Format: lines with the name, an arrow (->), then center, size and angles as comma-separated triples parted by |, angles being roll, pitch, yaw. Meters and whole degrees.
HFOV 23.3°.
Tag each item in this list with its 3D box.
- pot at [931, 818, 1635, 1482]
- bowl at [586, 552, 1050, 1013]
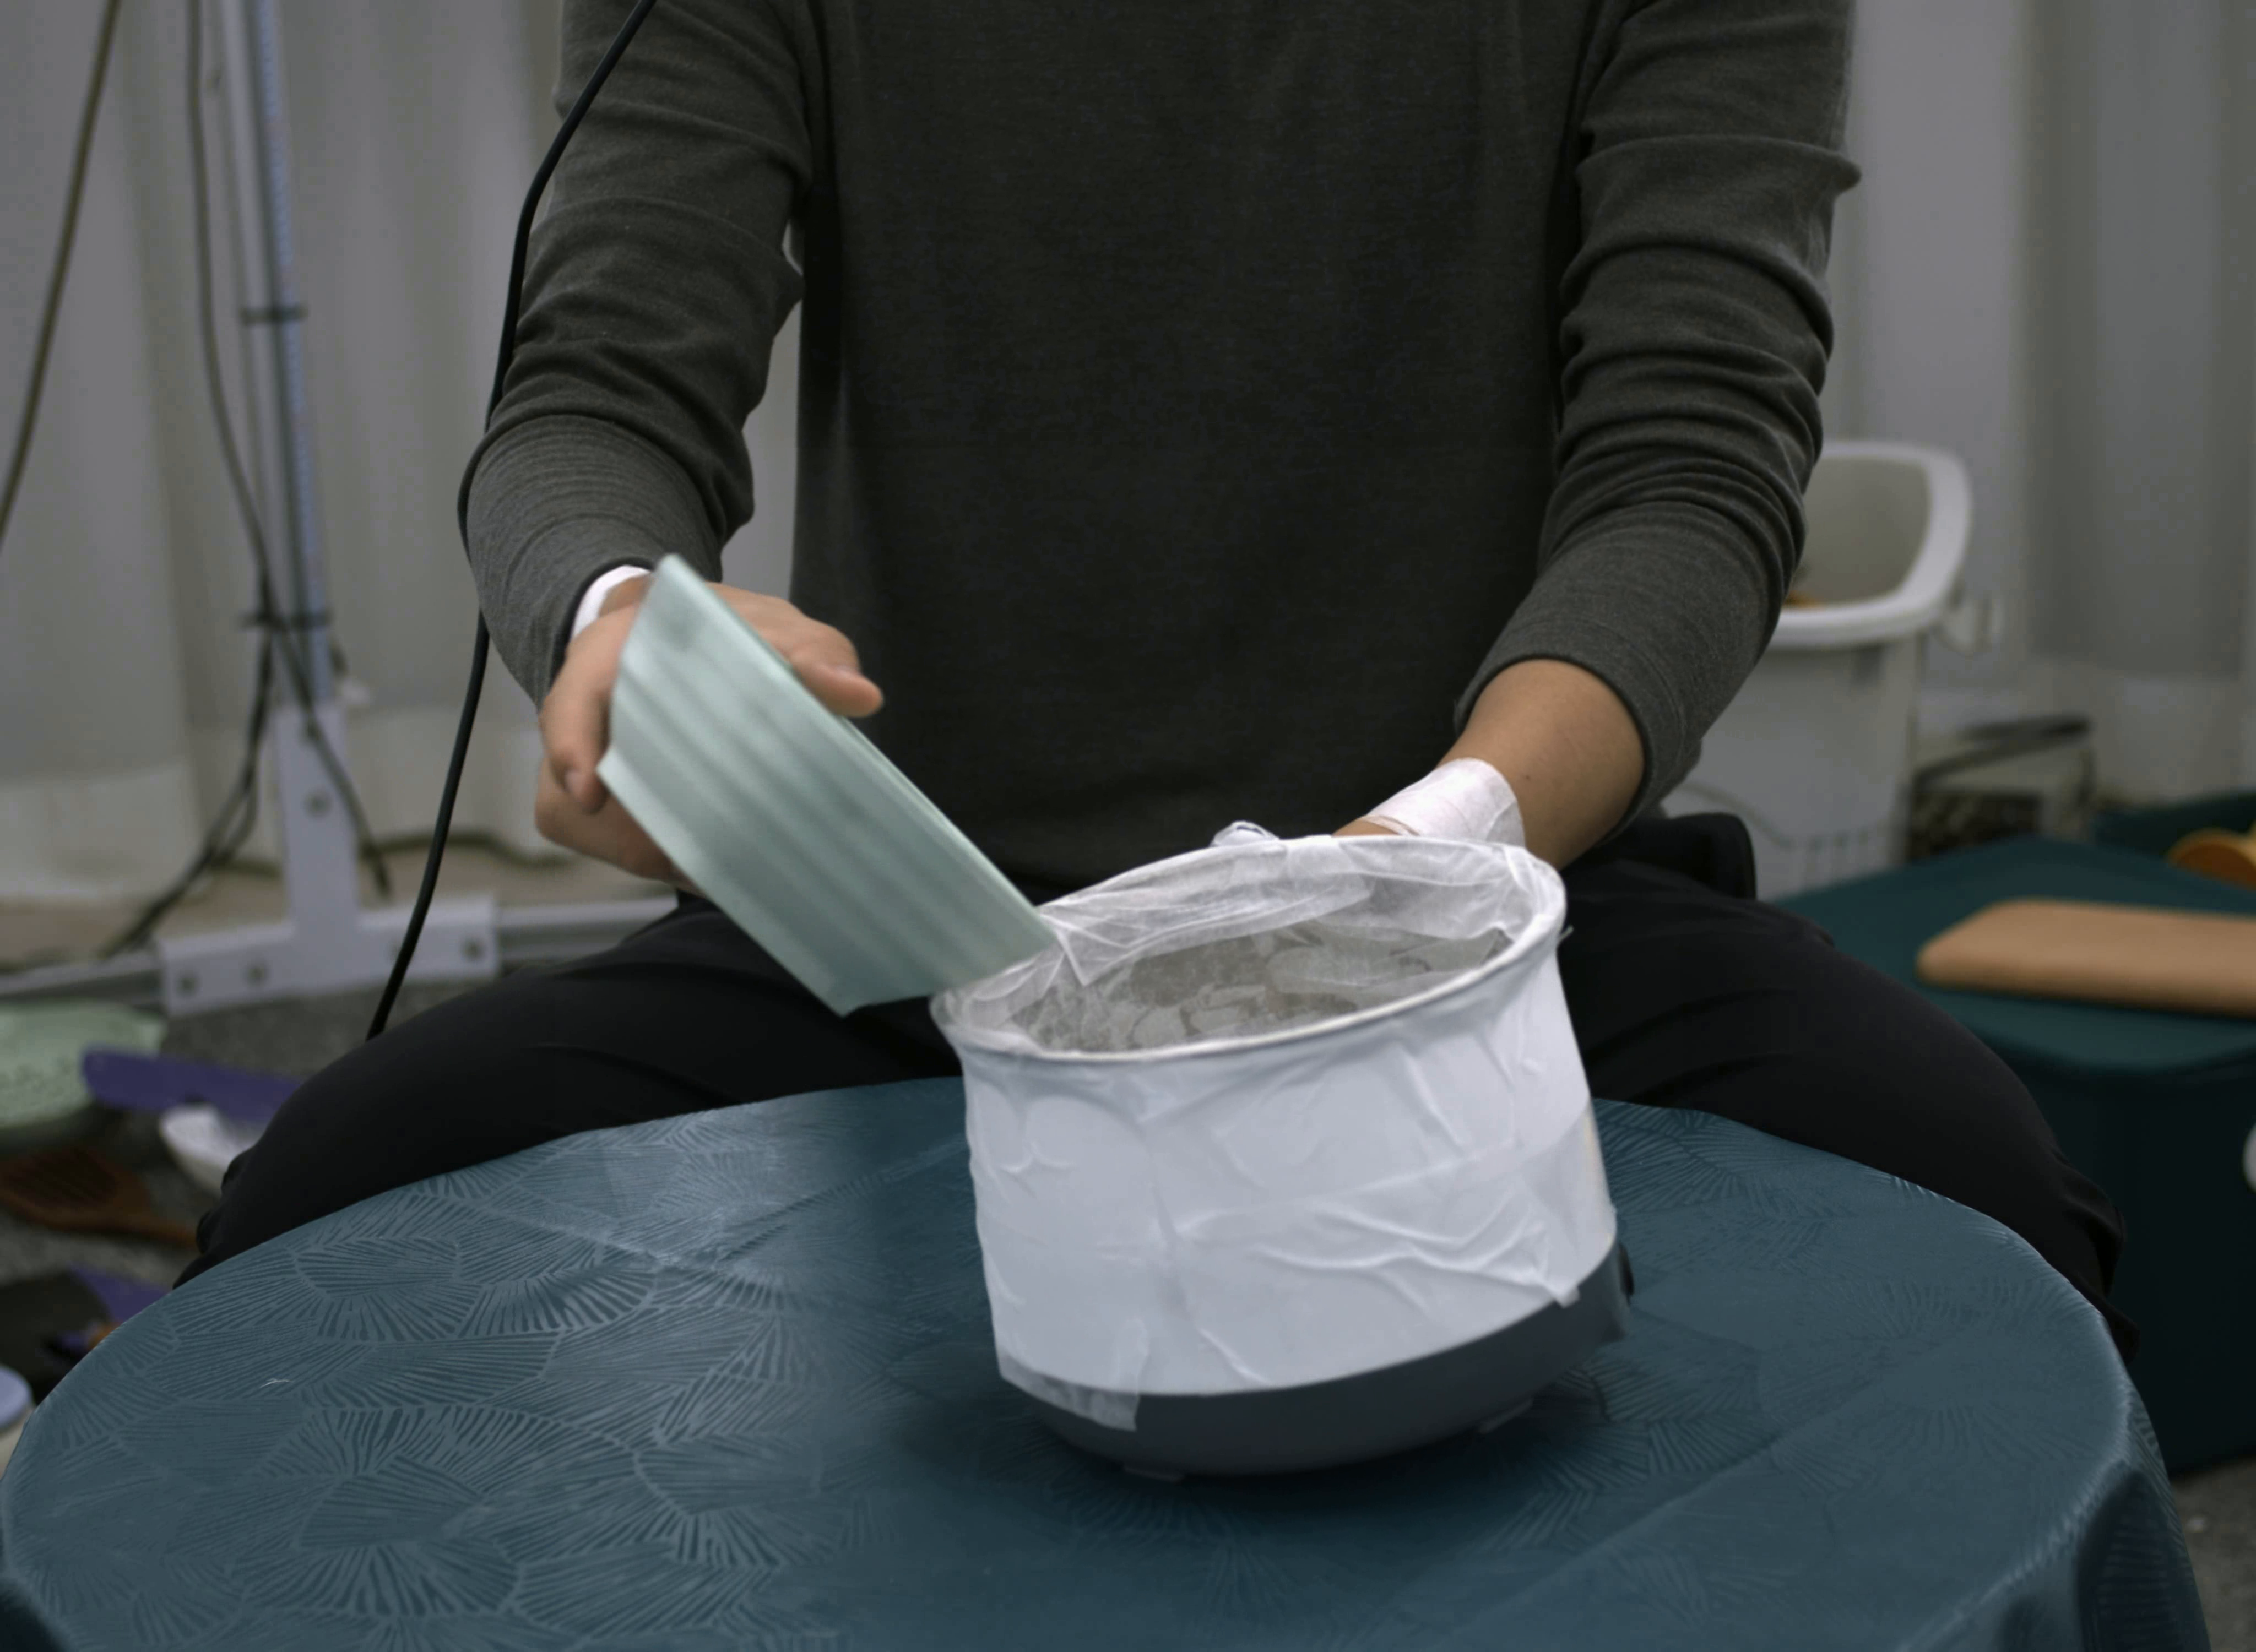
pot -> 0.044, 0.083, 1.532 | 0.178, 0.136, 0.235 | -9, 15, 2
bowl -> -0.094, -0.003, 1.489 | 0.058, 0.150, 0.152 | -46, 19, 1
